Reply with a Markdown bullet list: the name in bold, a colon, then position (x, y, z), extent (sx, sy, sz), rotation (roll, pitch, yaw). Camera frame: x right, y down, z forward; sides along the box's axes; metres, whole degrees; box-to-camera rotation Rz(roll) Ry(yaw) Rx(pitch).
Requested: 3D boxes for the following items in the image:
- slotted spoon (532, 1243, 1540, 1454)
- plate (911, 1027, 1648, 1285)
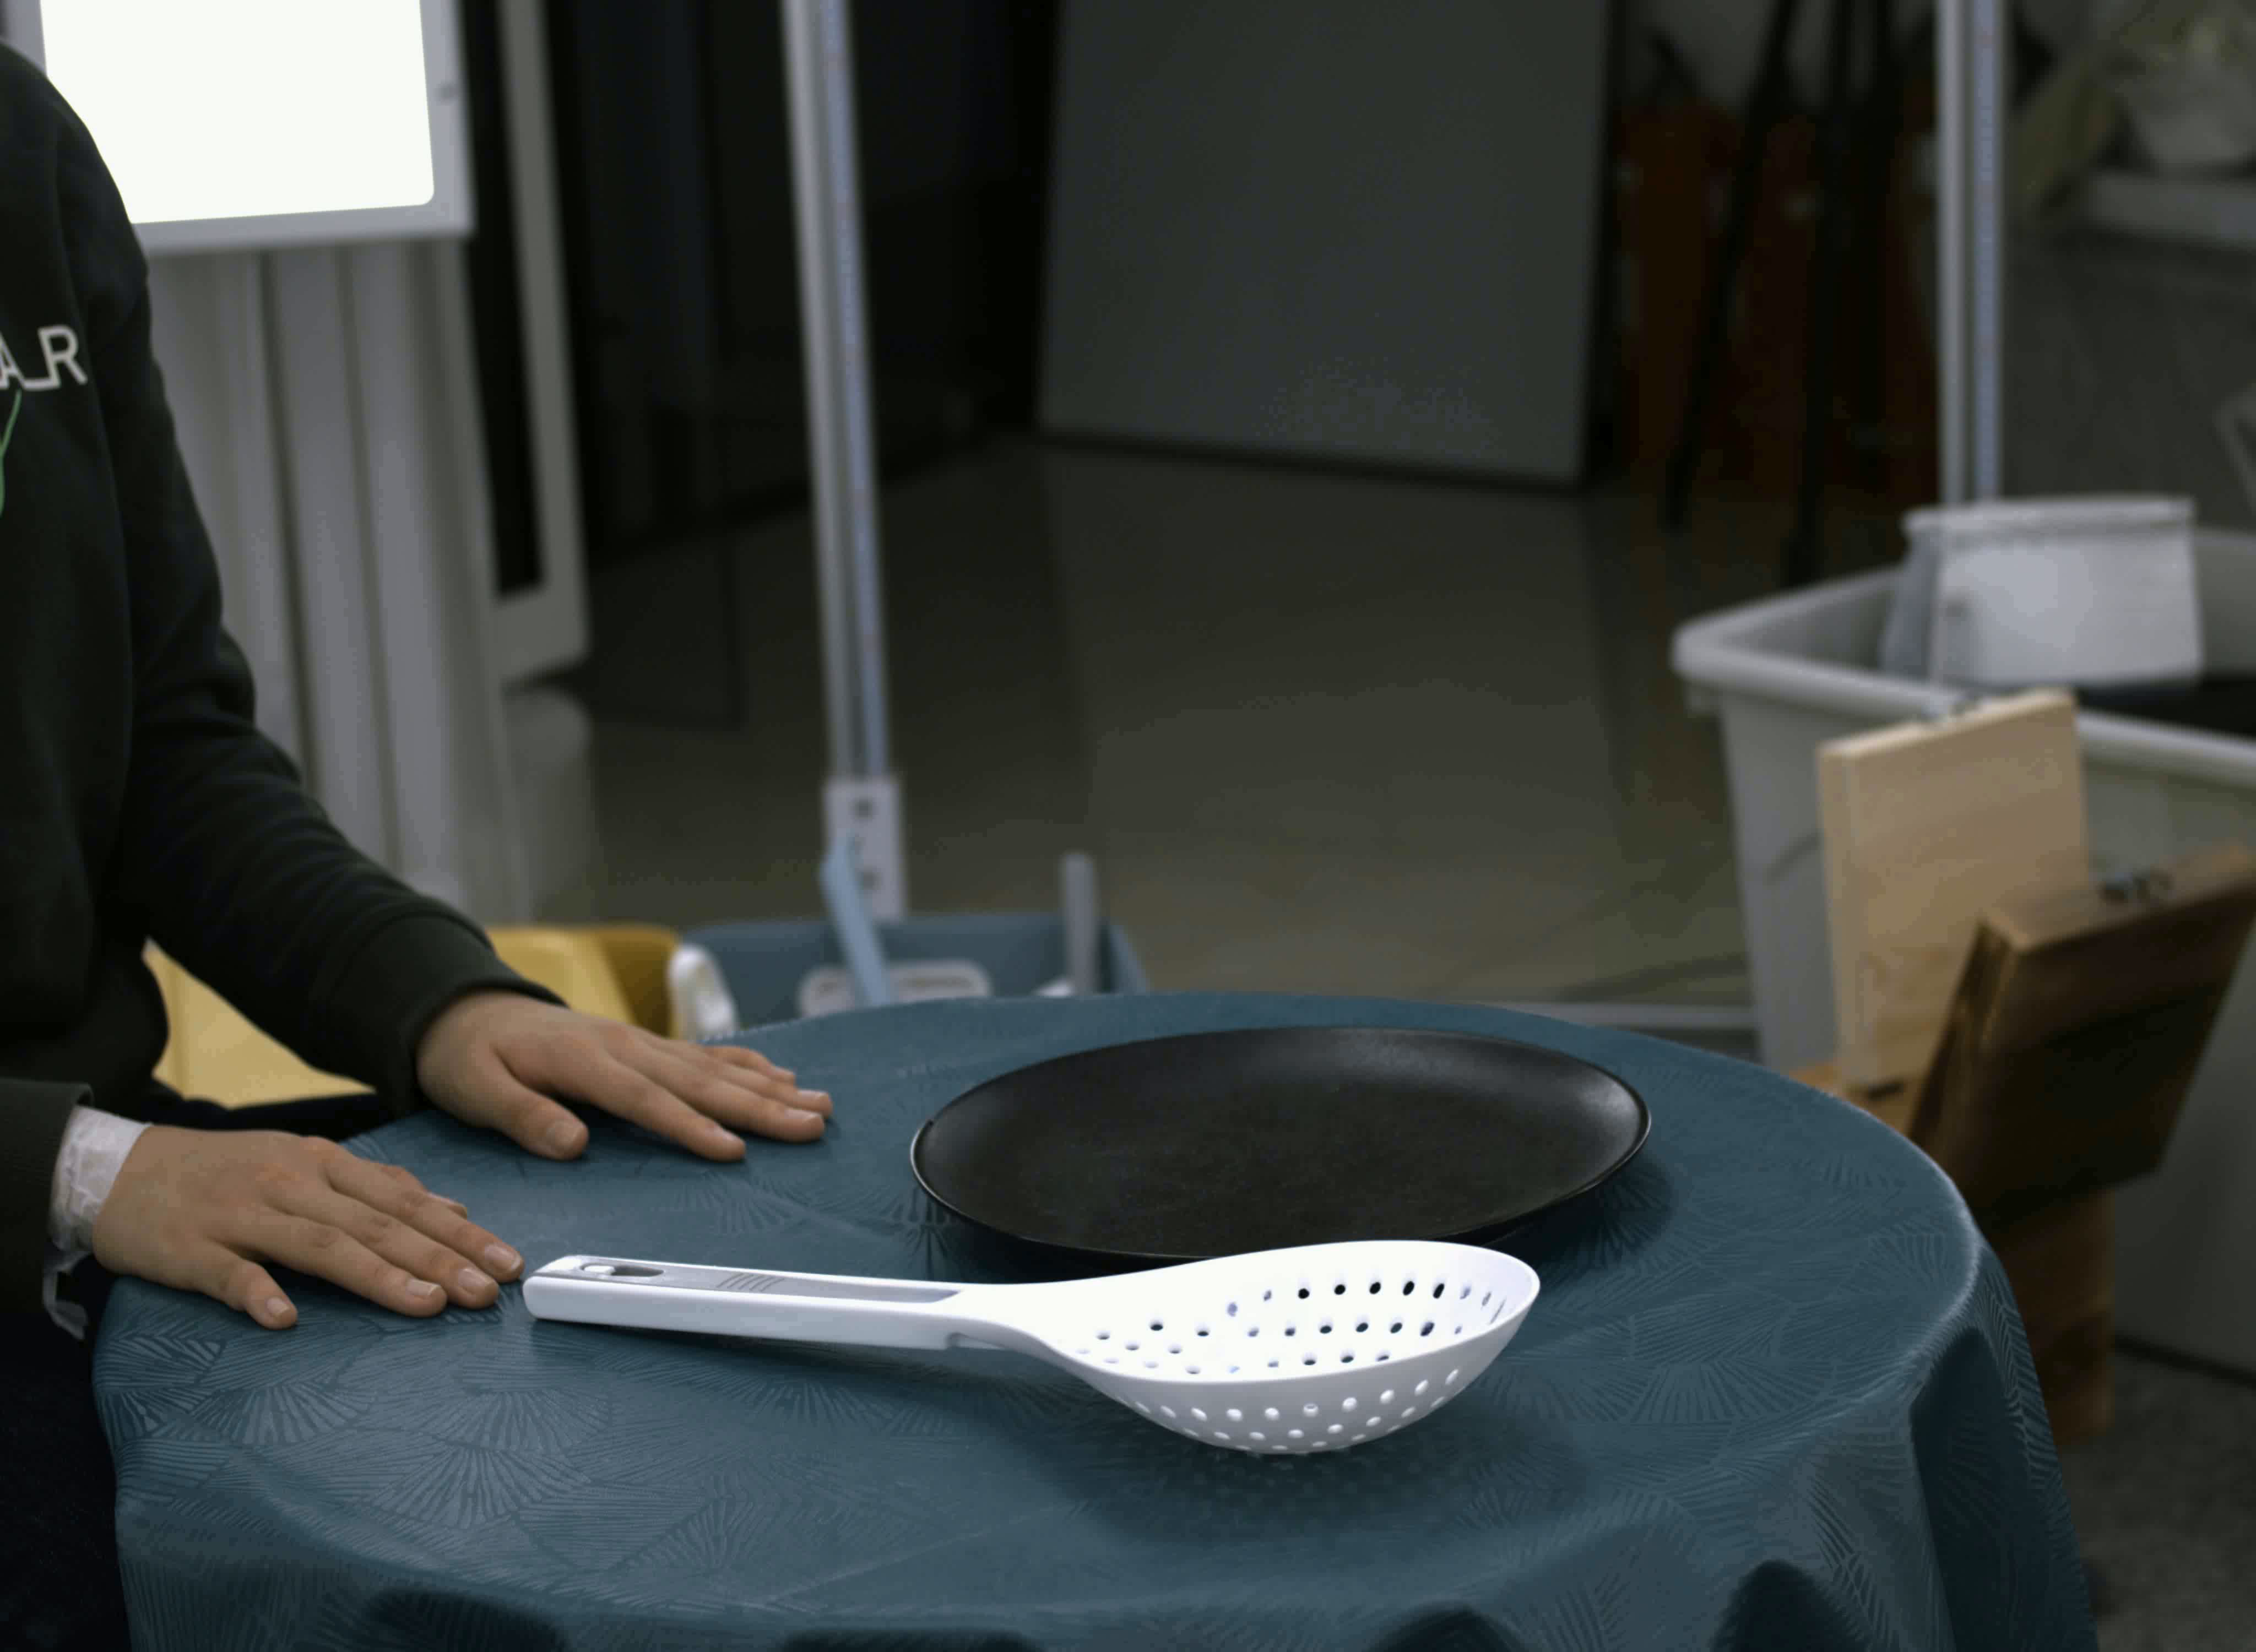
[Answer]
- **slotted spoon**: position (-0.037, 0.145, 1.591), extent (0.352, 0.046, 0.133), rotation (4, 14, 34)
- **plate**: position (0.050, 0.110, 1.753), extent (0.241, 0.024, 0.245), rotation (-4, 14, 0)
